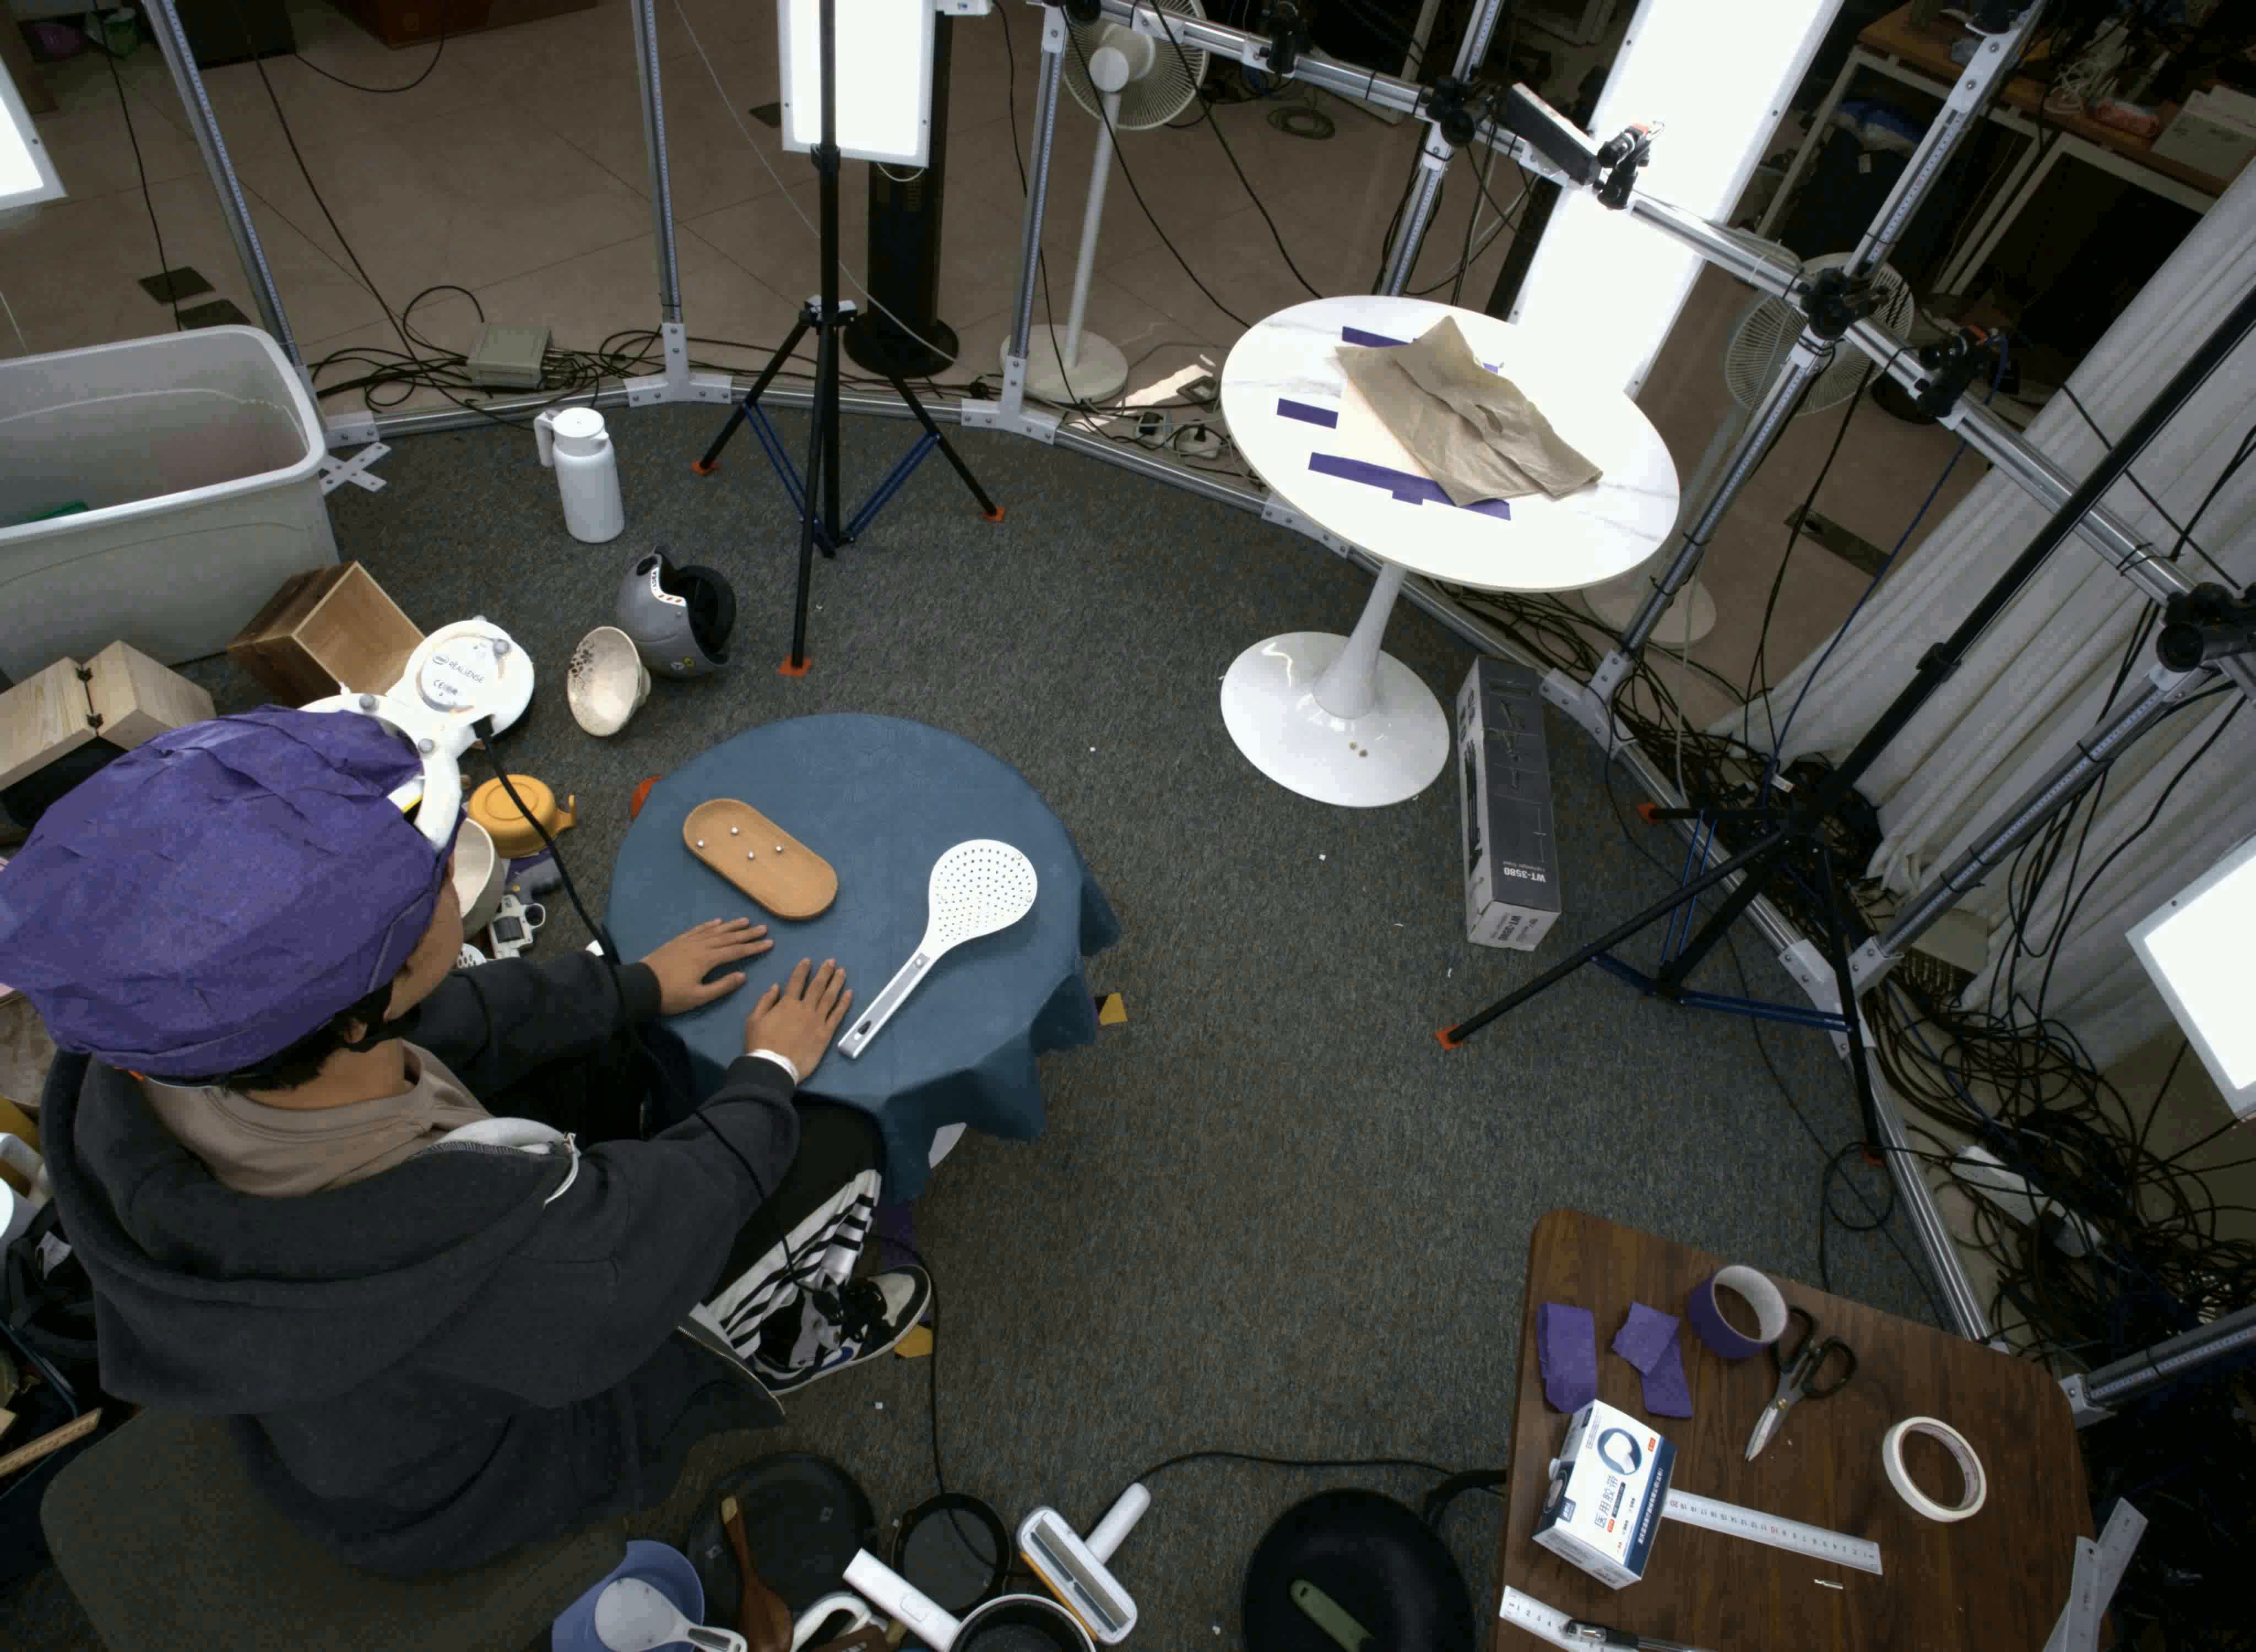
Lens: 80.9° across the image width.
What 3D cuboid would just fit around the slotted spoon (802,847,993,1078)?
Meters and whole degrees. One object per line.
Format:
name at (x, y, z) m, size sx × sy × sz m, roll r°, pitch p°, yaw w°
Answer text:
slotted spoon at (-0.291, 0.164, 1.611) m, size 0.133 × 0.047 × 0.348 m, roll 27°, pitch 53°, yaw 9°

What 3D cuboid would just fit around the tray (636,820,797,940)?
tray at (-0.525, 0.066, 1.643) m, size 0.227 × 0.021 × 0.101 m, roll 31°, pitch 54°, yaw 8°
